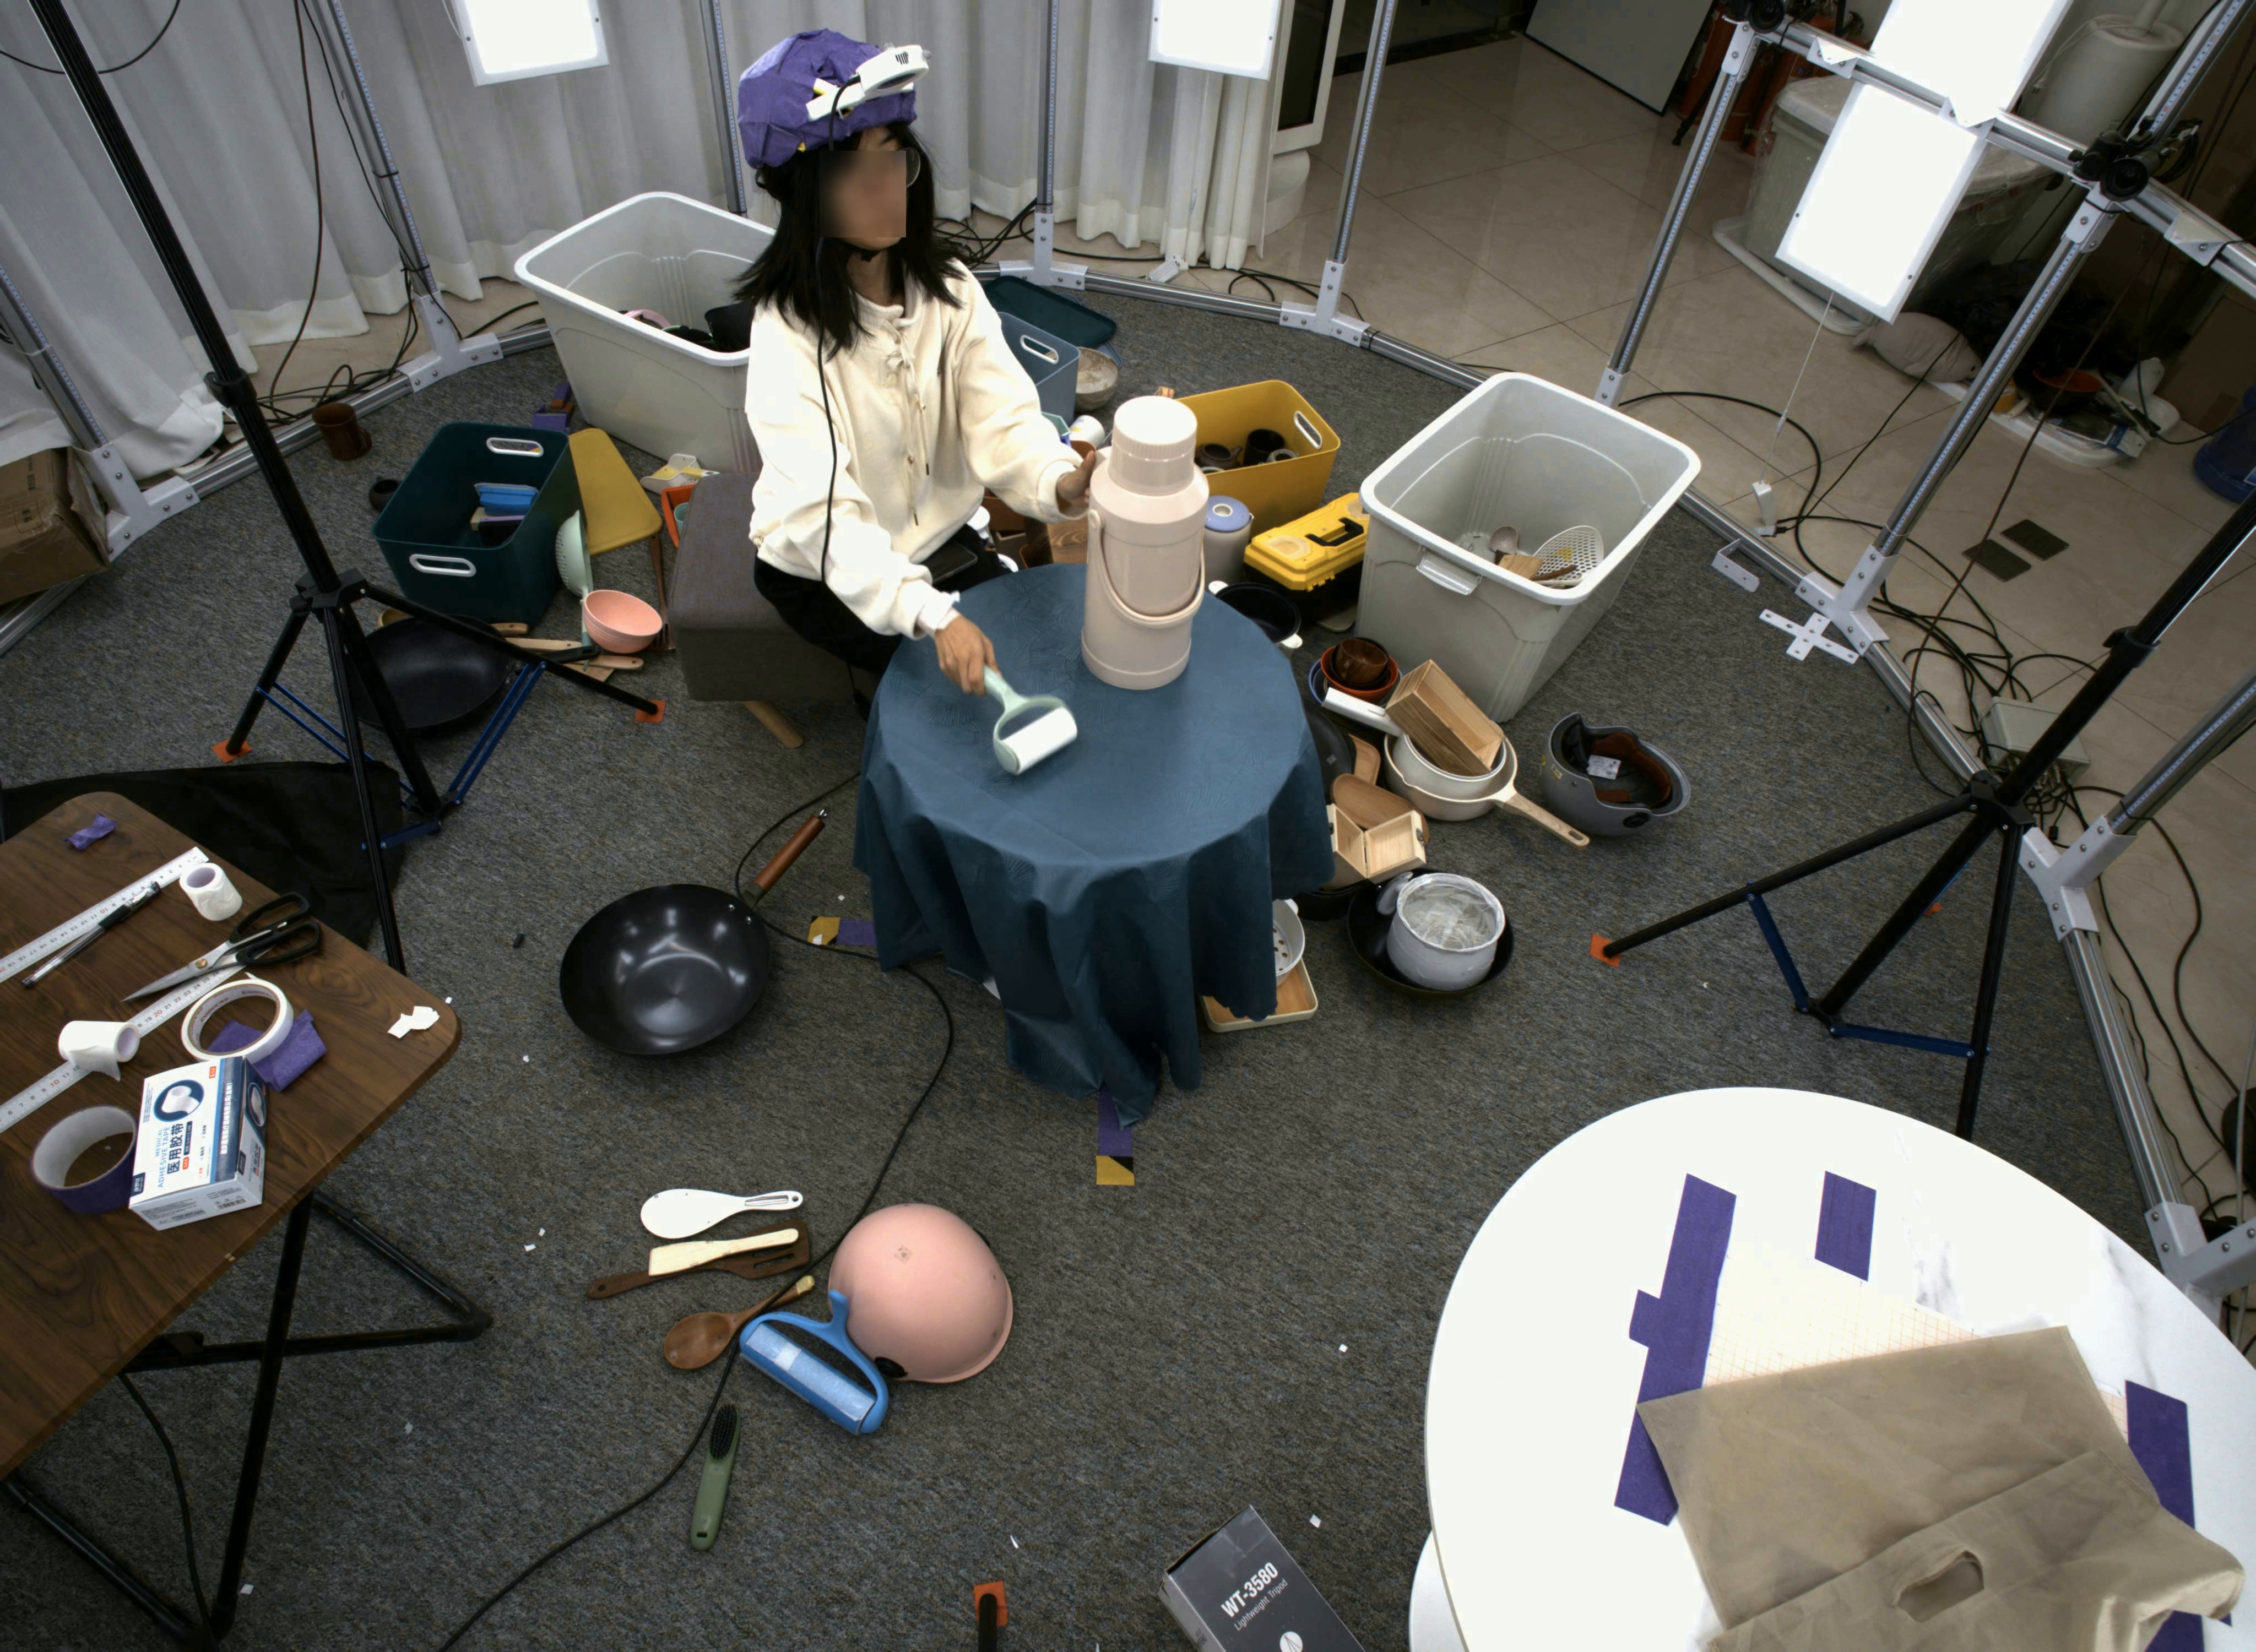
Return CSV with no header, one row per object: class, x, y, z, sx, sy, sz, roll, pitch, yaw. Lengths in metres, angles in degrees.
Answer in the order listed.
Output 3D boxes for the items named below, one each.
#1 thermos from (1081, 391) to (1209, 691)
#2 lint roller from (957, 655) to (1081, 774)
thermos,0.016,-0.390,1.754,0.176,0.396,0.211,-25,55,-23
lint roller,-0.162,-0.168,1.741,0.117,0.047,0.199,-32,74,-28
